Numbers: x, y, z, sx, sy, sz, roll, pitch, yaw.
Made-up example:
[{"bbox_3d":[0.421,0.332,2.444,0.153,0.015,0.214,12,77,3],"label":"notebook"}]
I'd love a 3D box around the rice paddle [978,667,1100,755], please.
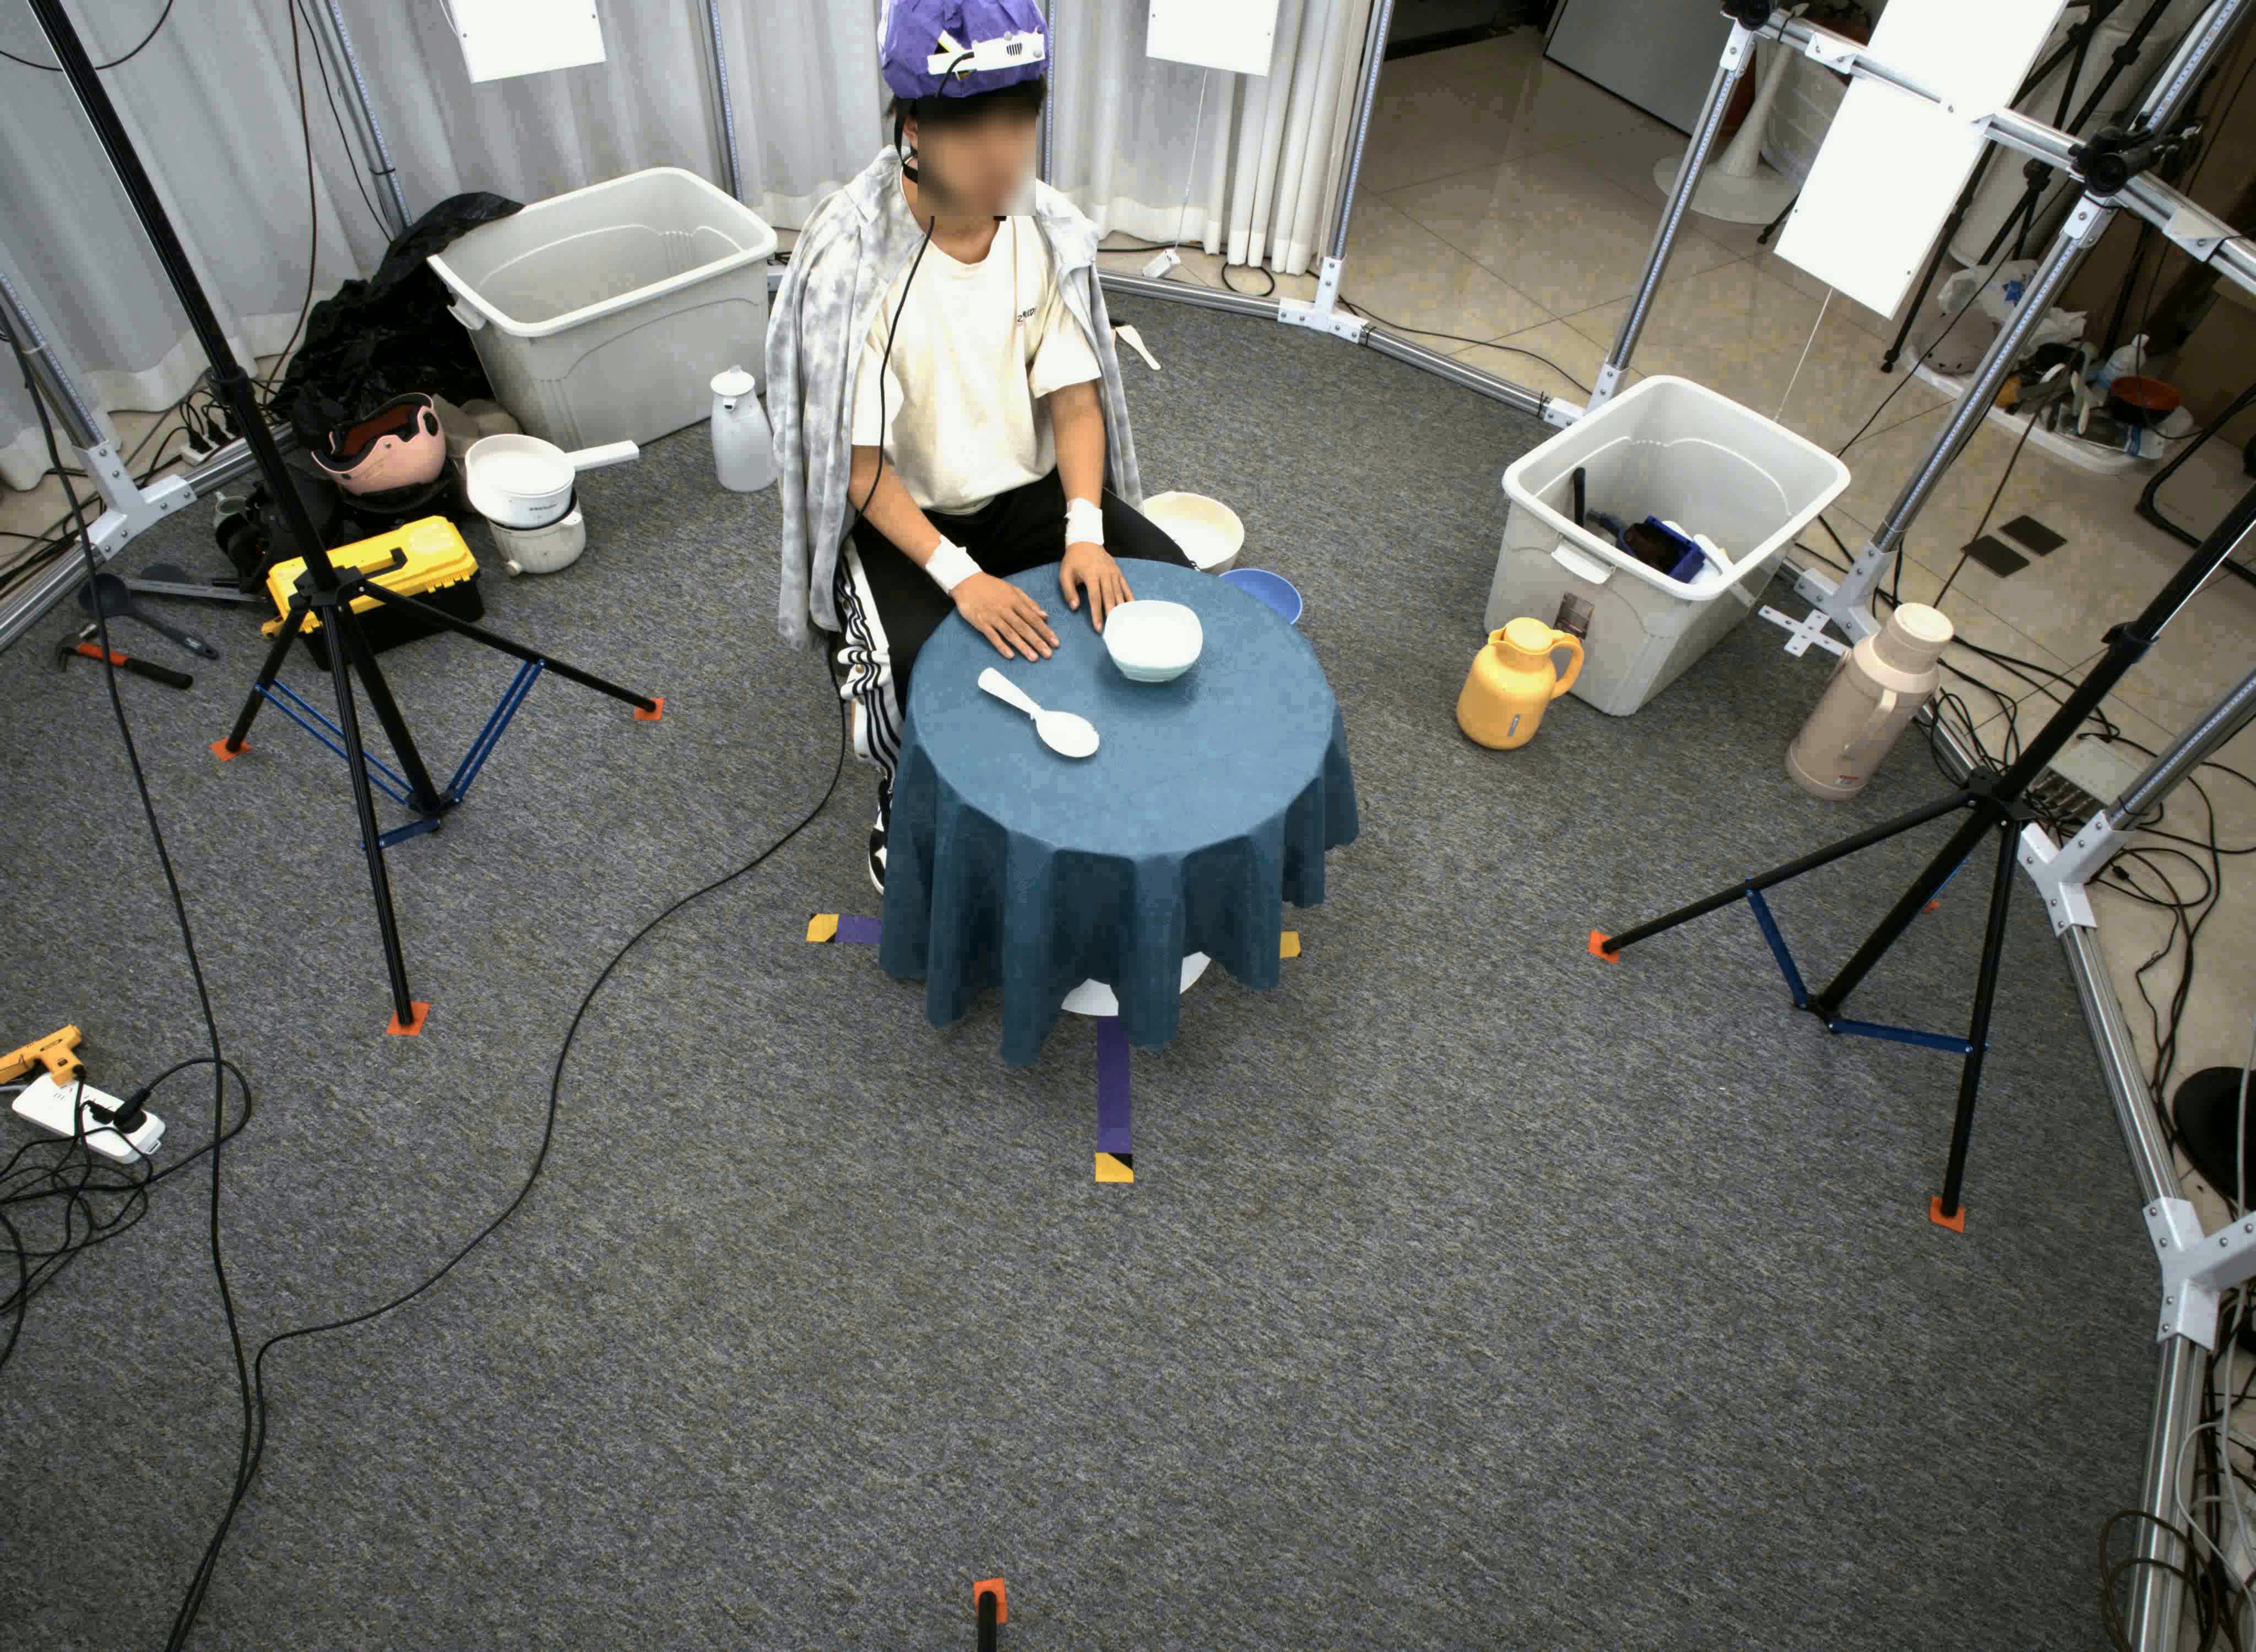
[{"bbox_3d":[-0.122,-0.158,1.770,0.208,0.029,0.069,35,57,24],"label":"rice paddle"}]

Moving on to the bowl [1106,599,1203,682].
[{"bbox_3d":[0.038,-0.259,1.850,0.151,0.057,0.155,0,51,-1],"label":"bowl"}]
